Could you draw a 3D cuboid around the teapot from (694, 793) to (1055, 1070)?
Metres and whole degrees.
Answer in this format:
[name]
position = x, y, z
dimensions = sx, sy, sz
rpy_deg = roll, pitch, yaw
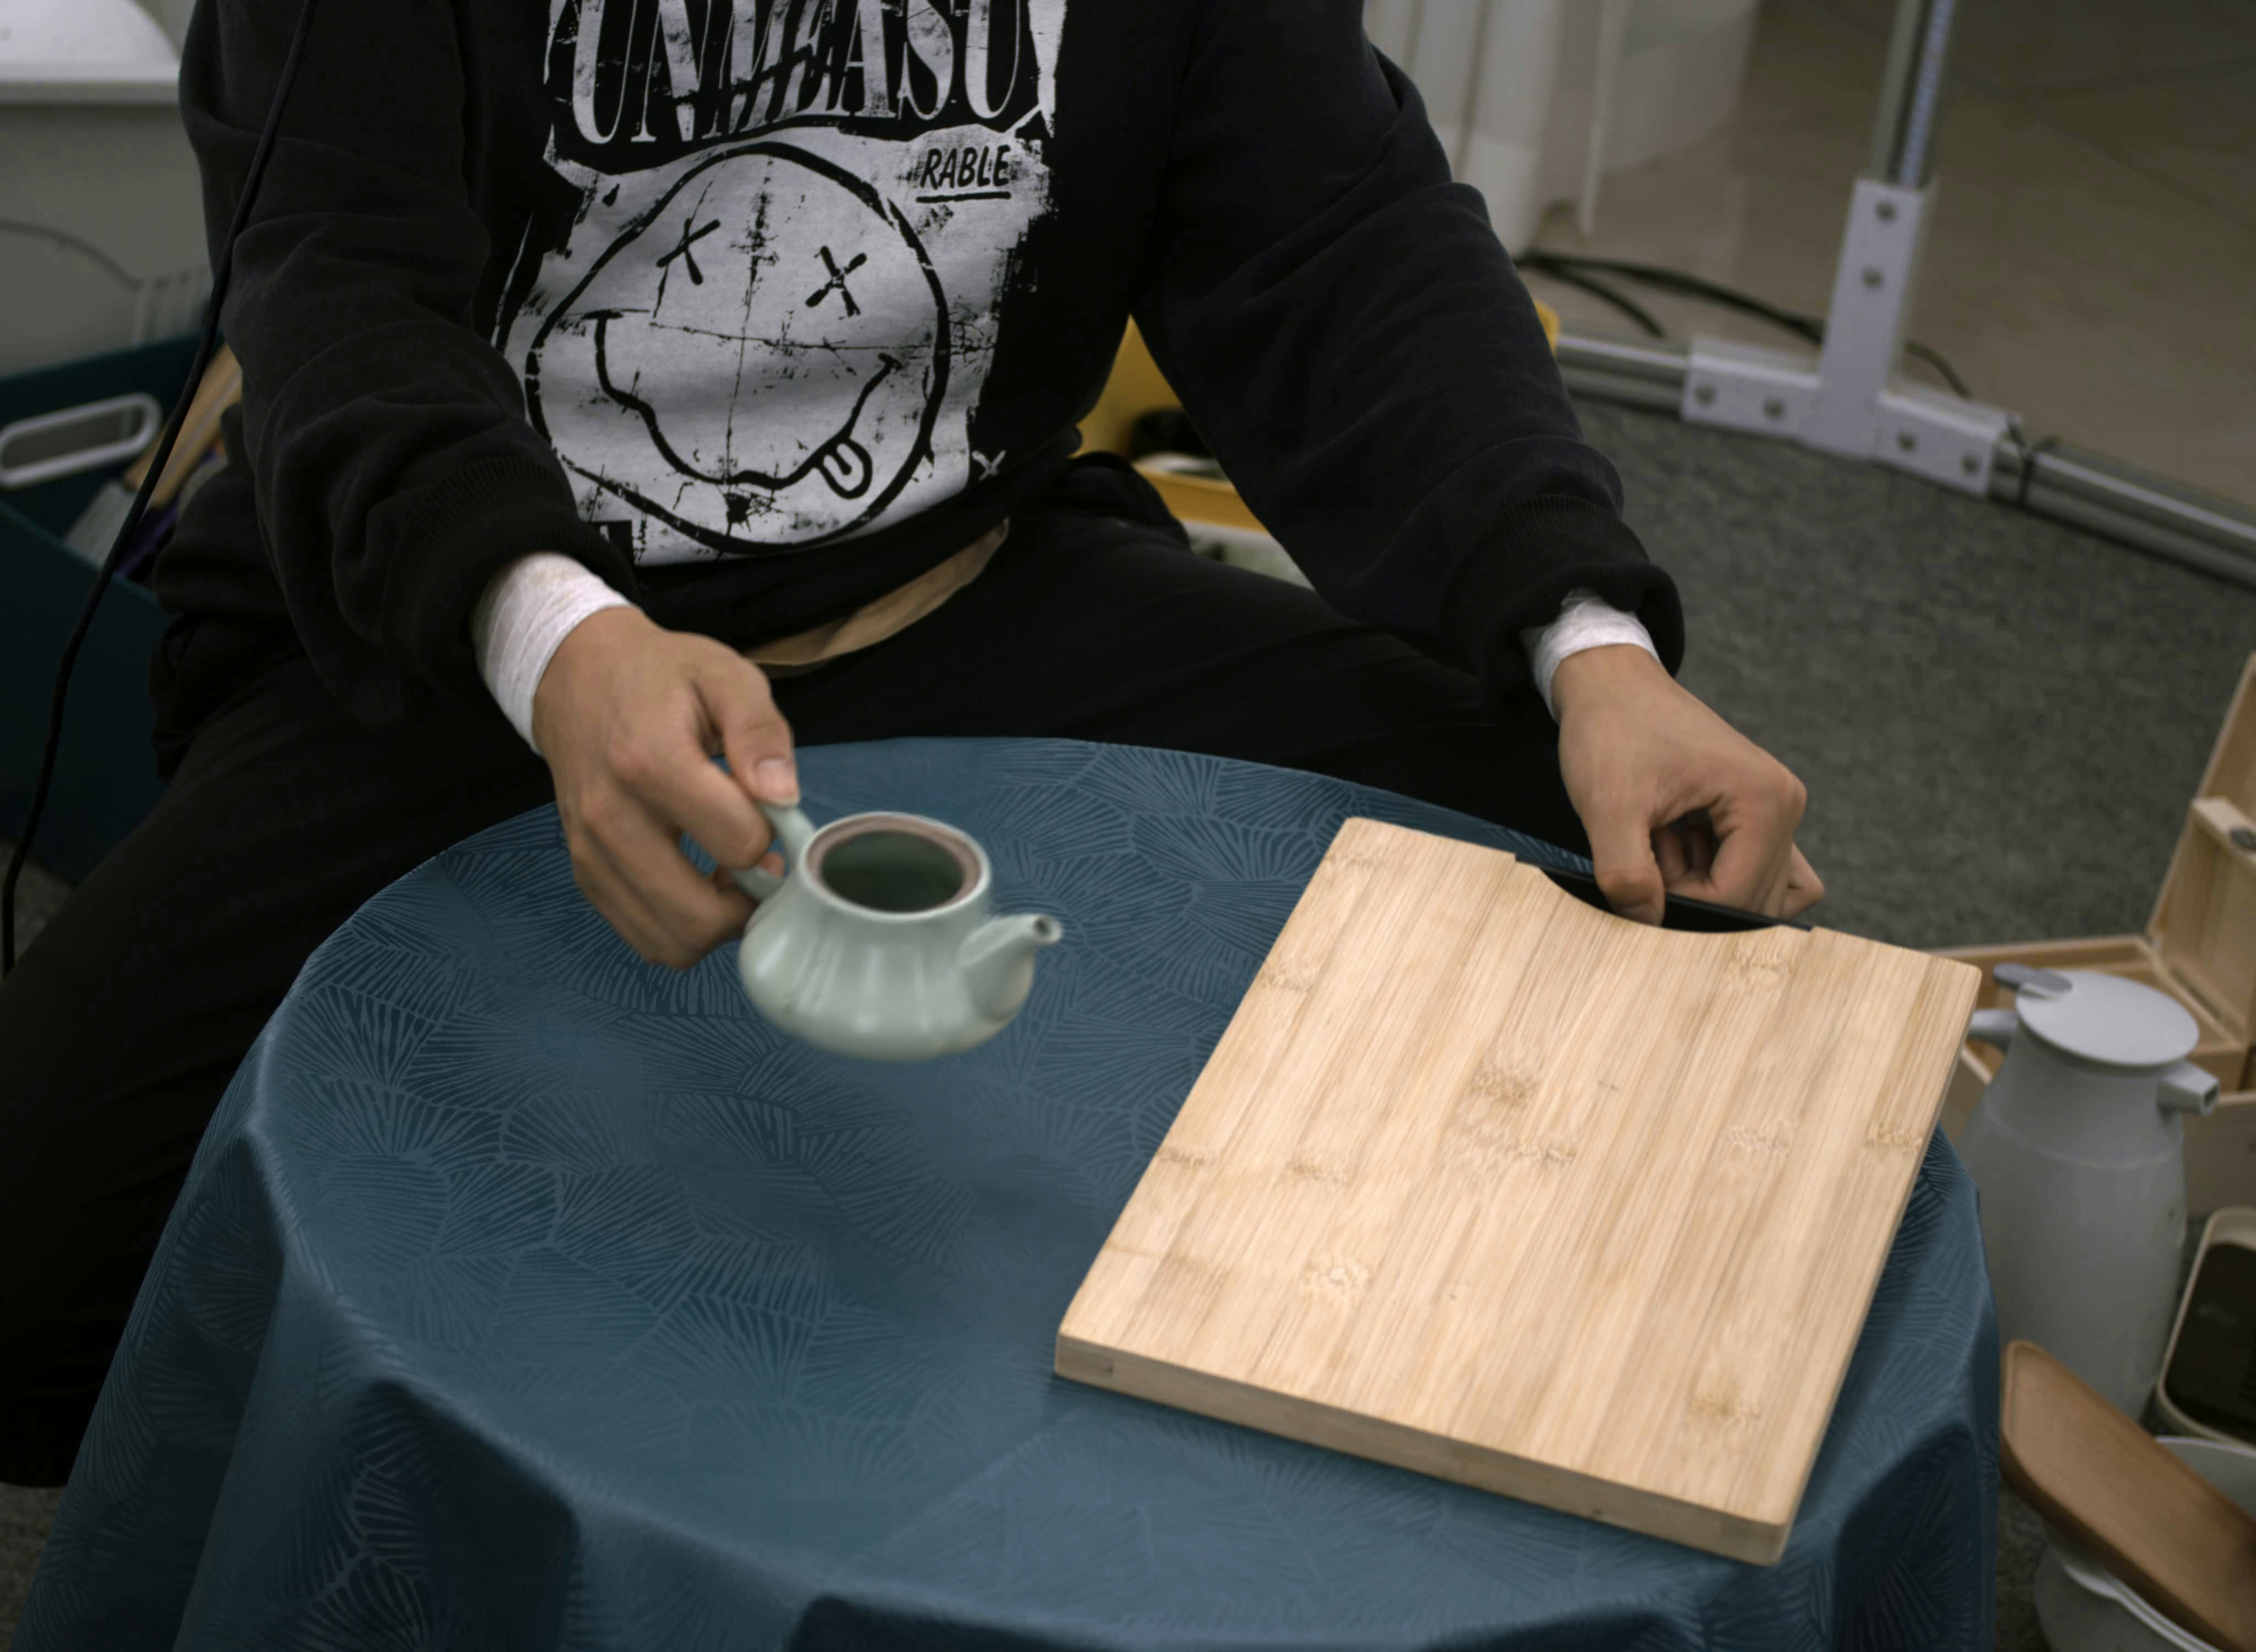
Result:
[teapot]
position = -0.085, 0.034, 1.736
dimensions = 0.137, 0.061, 0.096
rpy_deg = 23, 38, 25

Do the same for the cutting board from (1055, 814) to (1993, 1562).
[cutting board]
position = 0.143, 0.112, 1.809
dimensions = 0.251, 0.023, 0.349
rpy_deg = 13, 33, 12
